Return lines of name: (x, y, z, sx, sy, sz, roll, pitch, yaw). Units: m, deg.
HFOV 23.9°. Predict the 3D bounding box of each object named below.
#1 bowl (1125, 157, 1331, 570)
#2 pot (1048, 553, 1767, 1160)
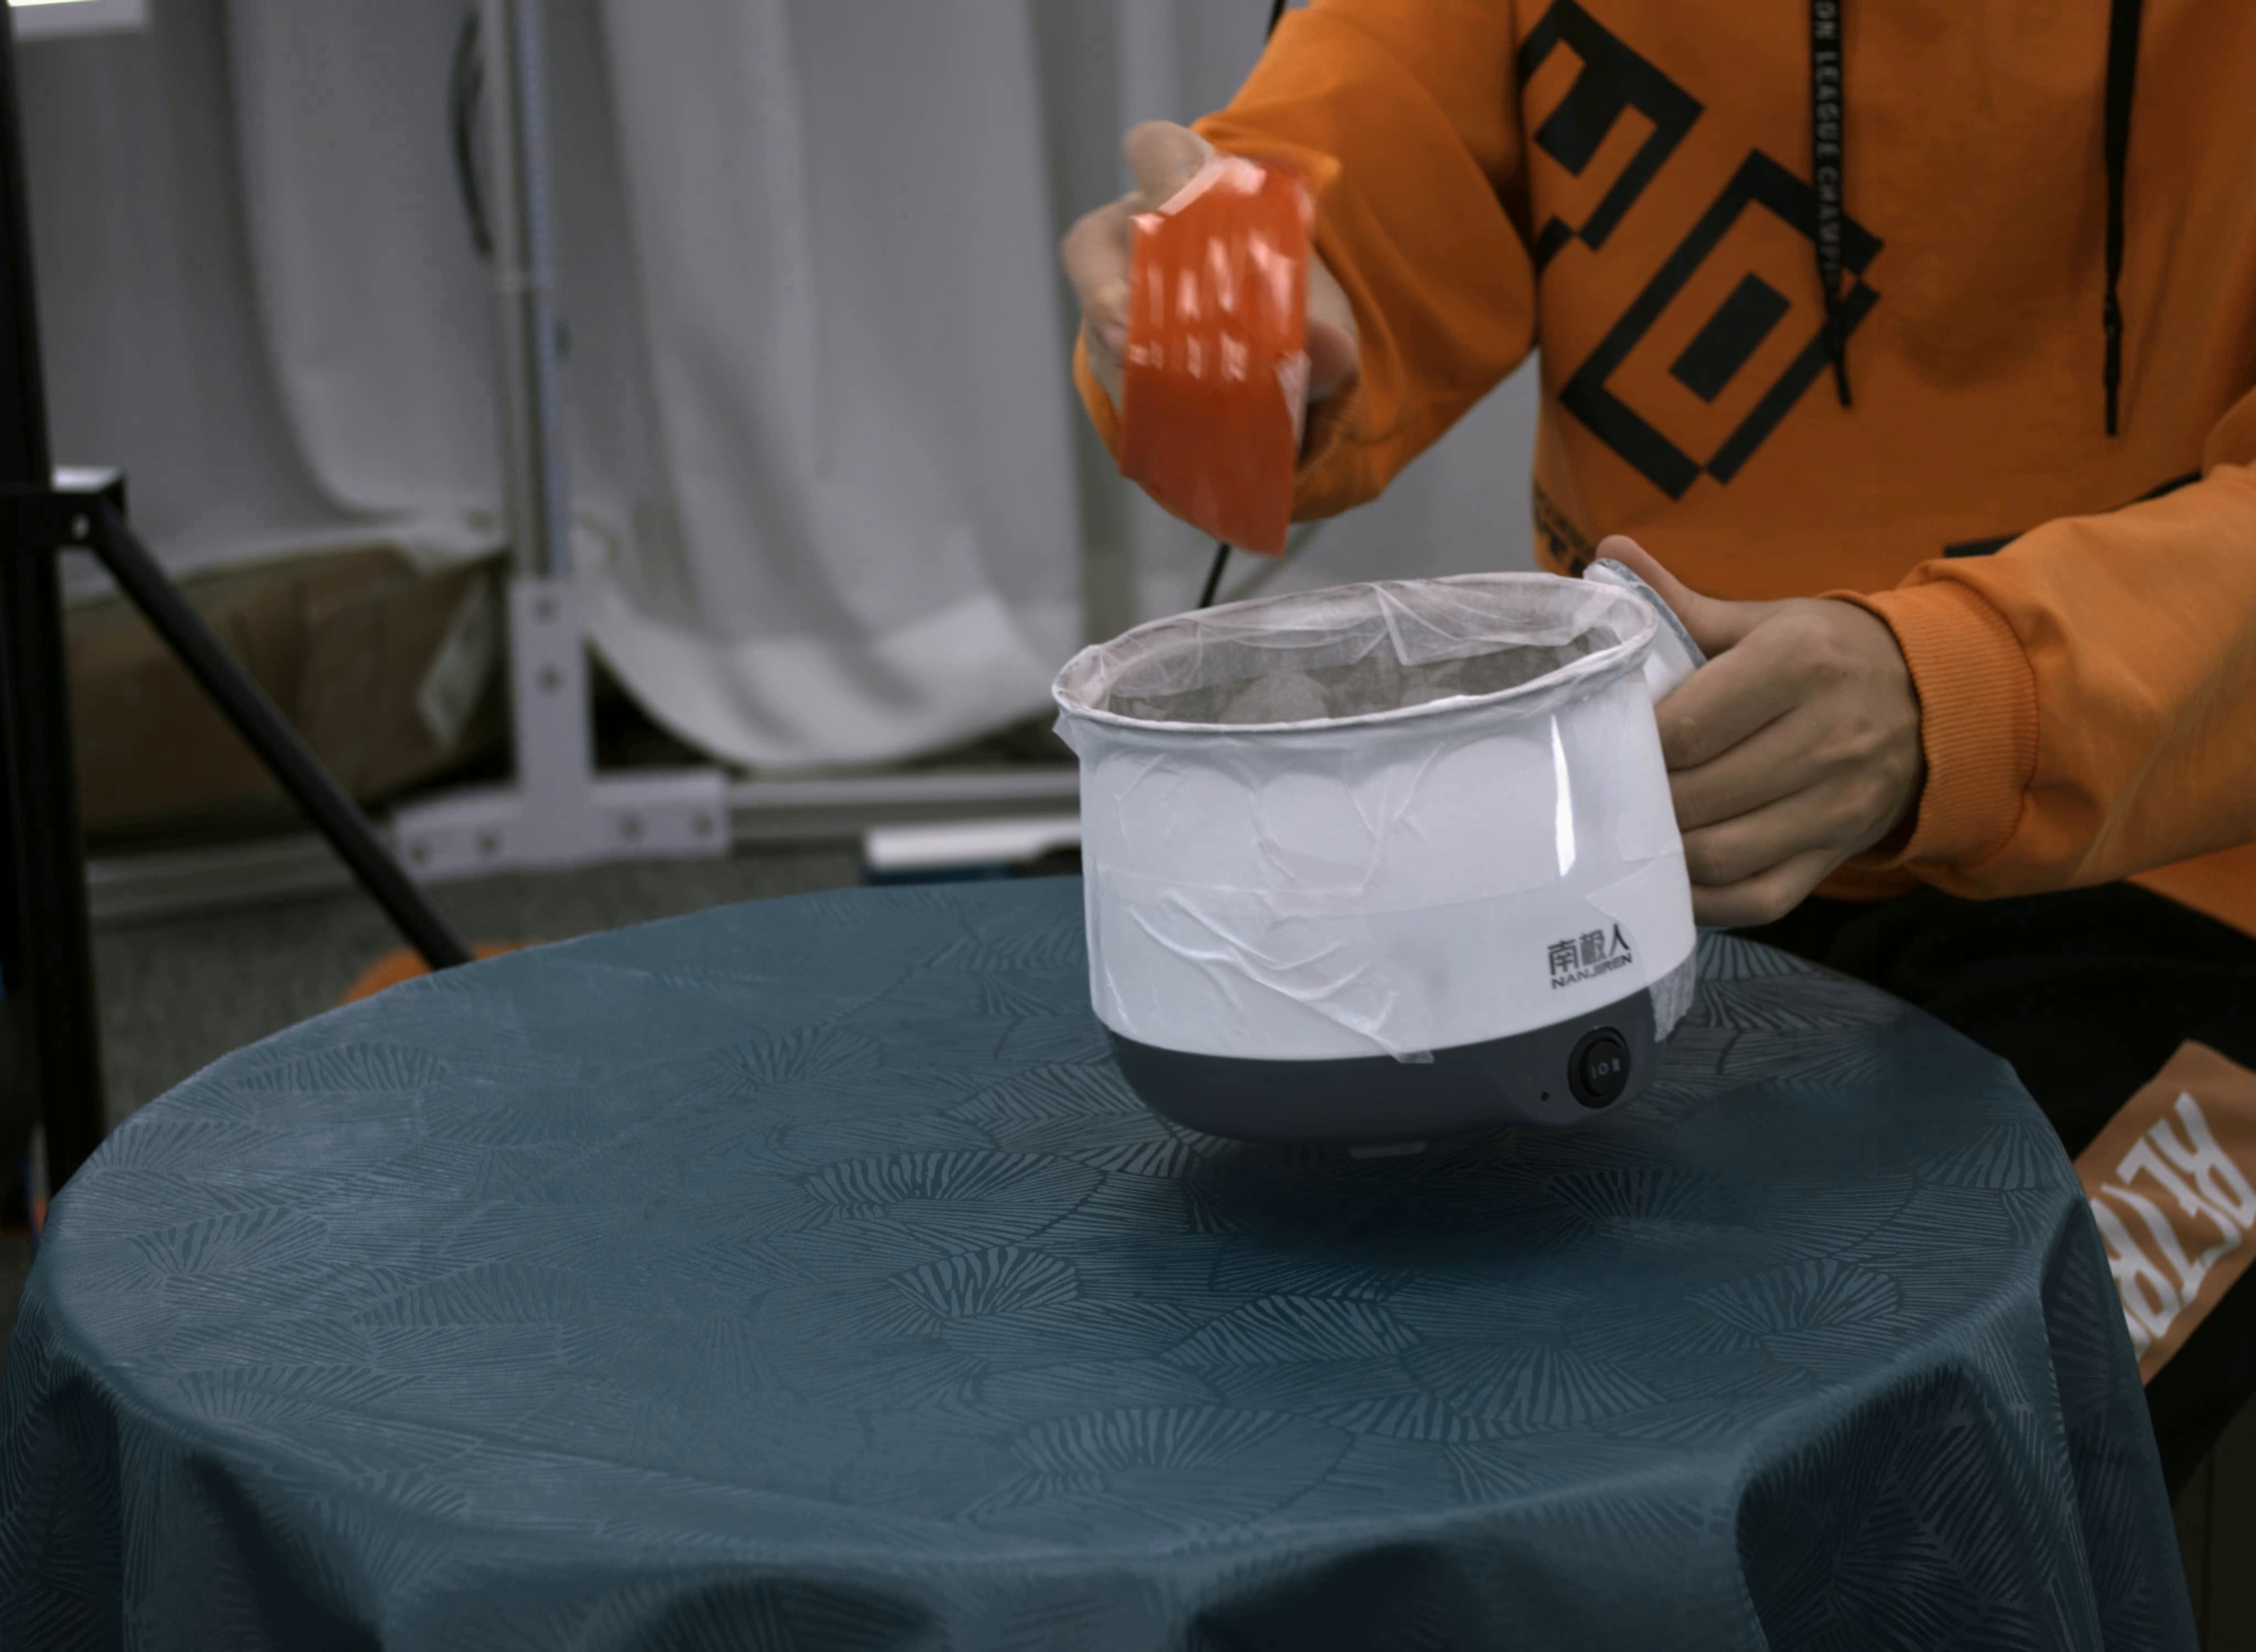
bowl: (0.028, -0.135, 1.544, 0.051, 0.119, 0.119, 5, 16, -1)
pot: (0.093, 0.003, 1.556, 0.228, 0.136, 0.183, -18, 17, -36)
